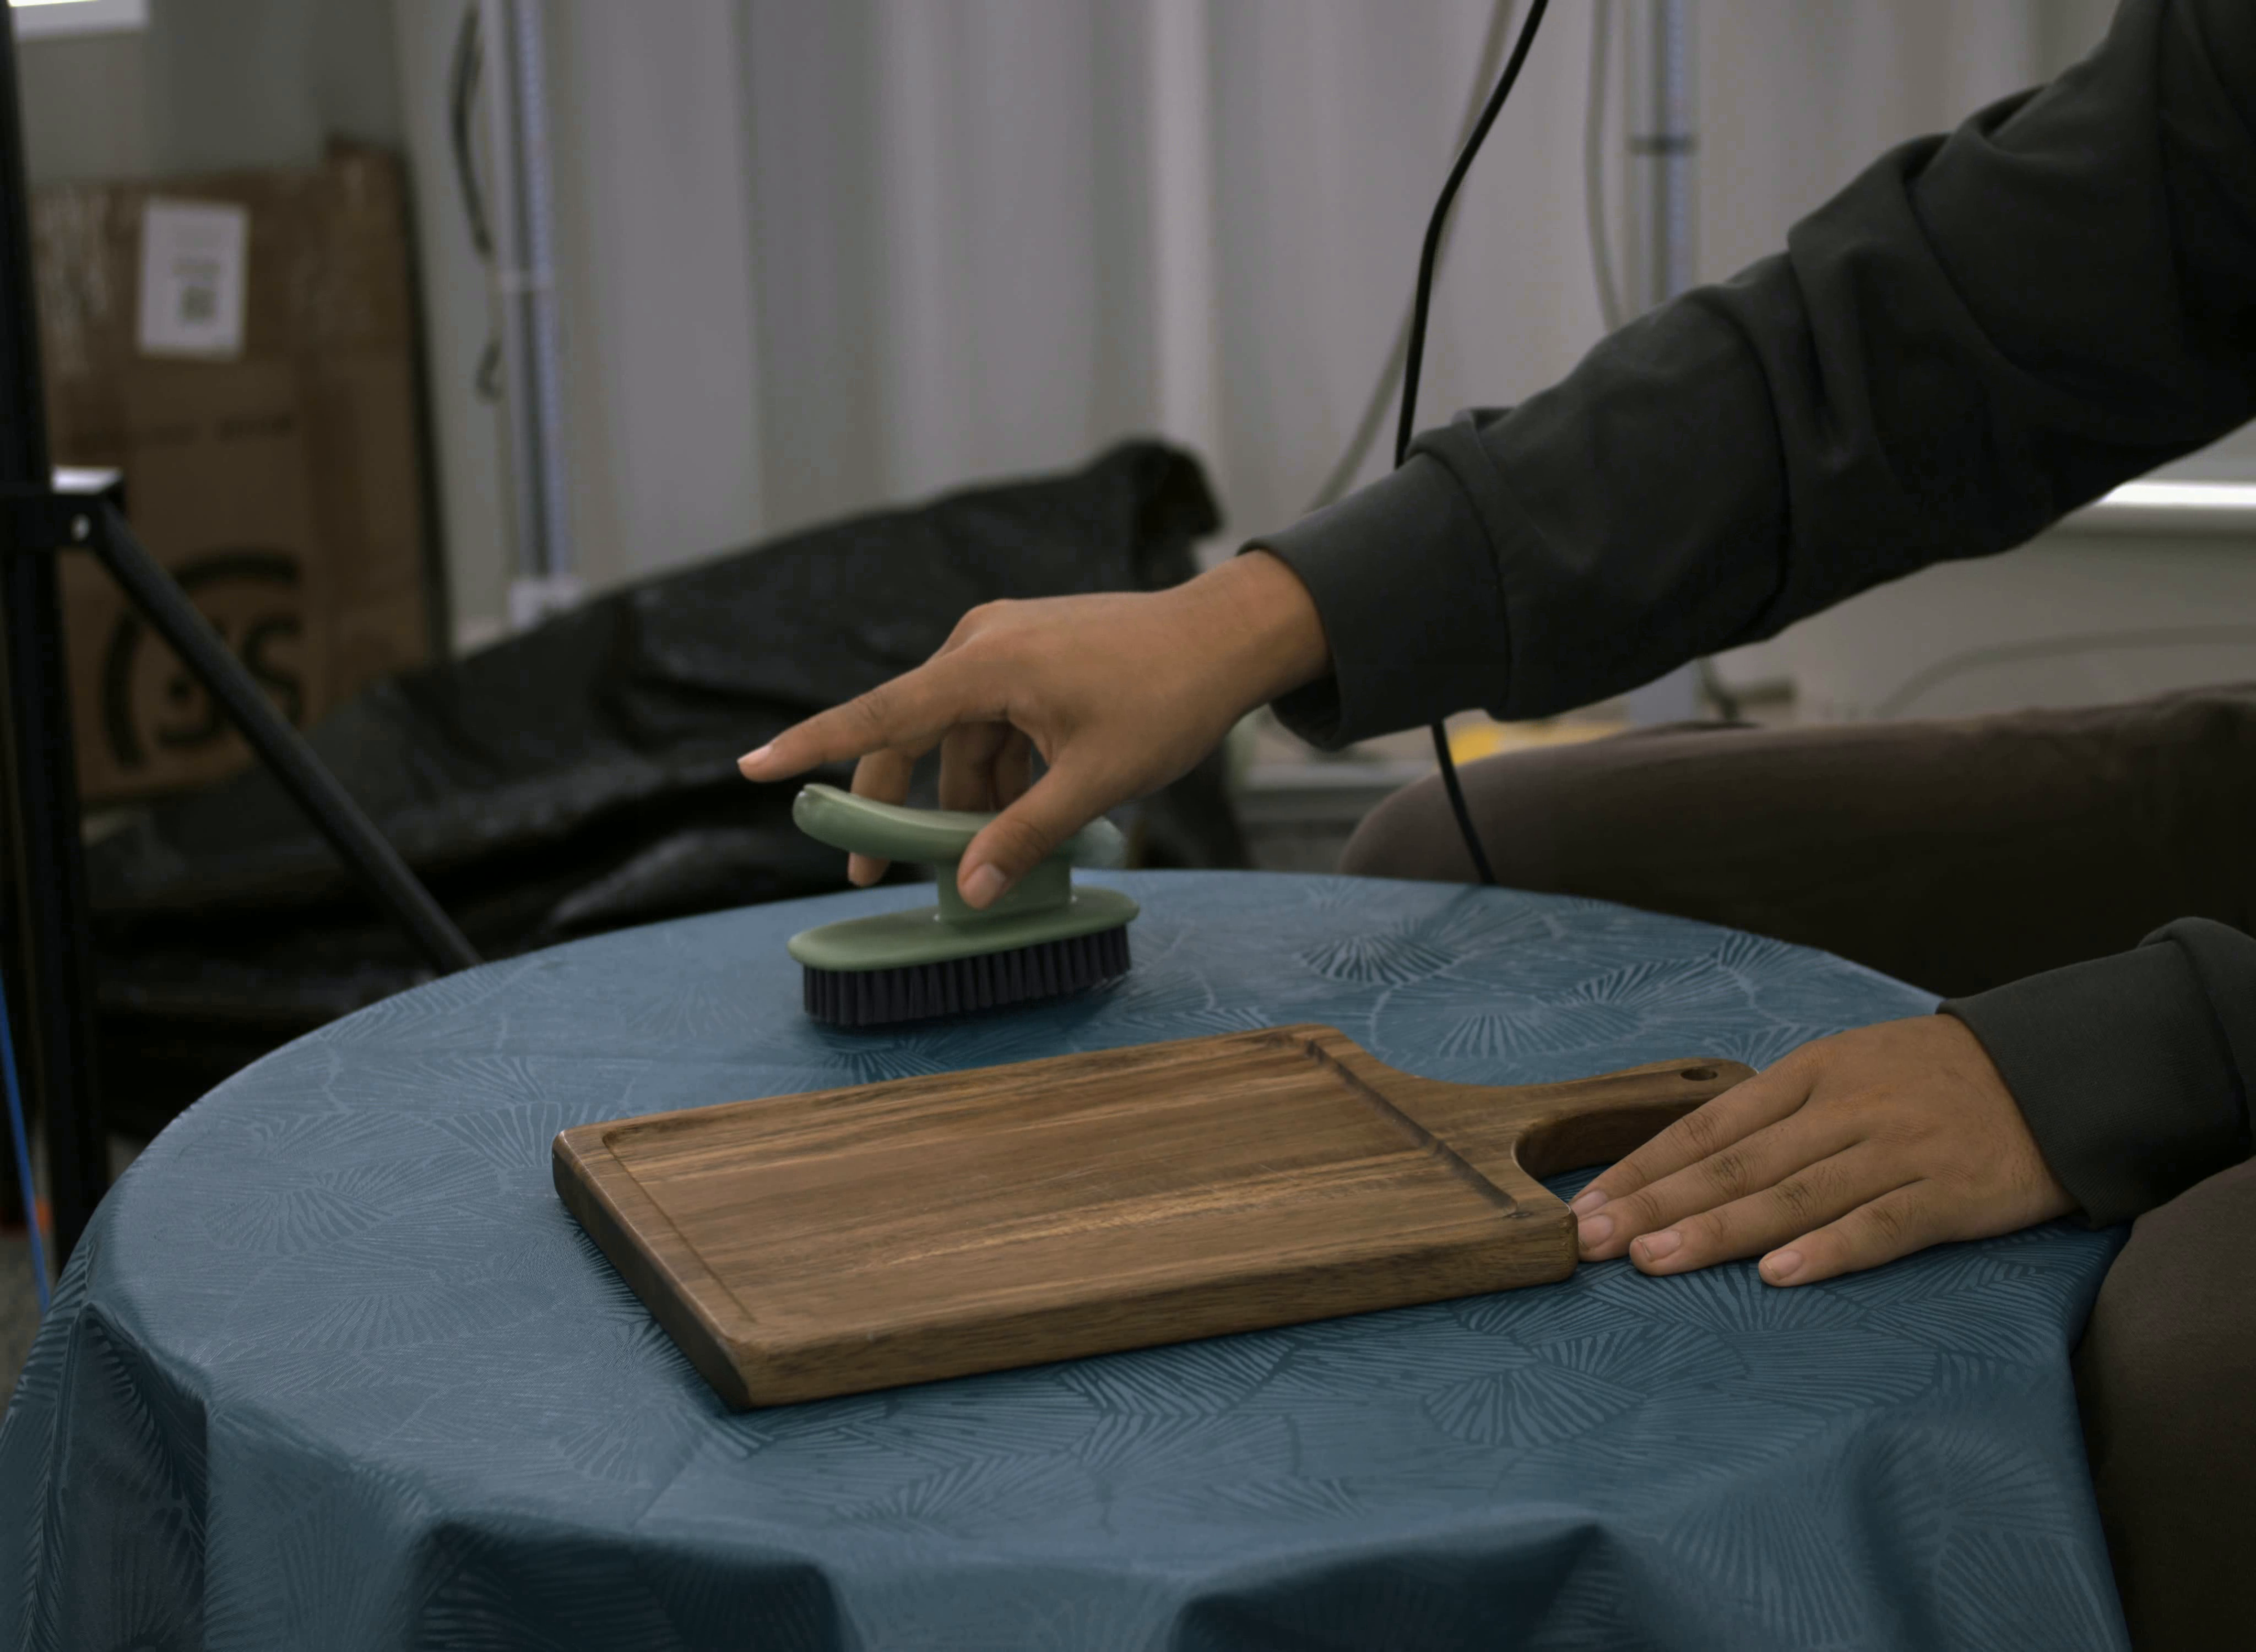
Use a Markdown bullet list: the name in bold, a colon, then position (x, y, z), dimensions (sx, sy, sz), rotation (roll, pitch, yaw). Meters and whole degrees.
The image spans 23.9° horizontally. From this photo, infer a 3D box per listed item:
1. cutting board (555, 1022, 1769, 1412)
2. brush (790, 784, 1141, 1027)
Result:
- **cutting board**: position (0.026, 0.102, 1.535), dimensions (0.346, 0.023, 0.204), rotation (-7, 17, -17)
- **brush**: position (-0.054, 0.029, 1.737), dimensions (0.120, 0.076, 0.061), rotation (5, 7, -27)
